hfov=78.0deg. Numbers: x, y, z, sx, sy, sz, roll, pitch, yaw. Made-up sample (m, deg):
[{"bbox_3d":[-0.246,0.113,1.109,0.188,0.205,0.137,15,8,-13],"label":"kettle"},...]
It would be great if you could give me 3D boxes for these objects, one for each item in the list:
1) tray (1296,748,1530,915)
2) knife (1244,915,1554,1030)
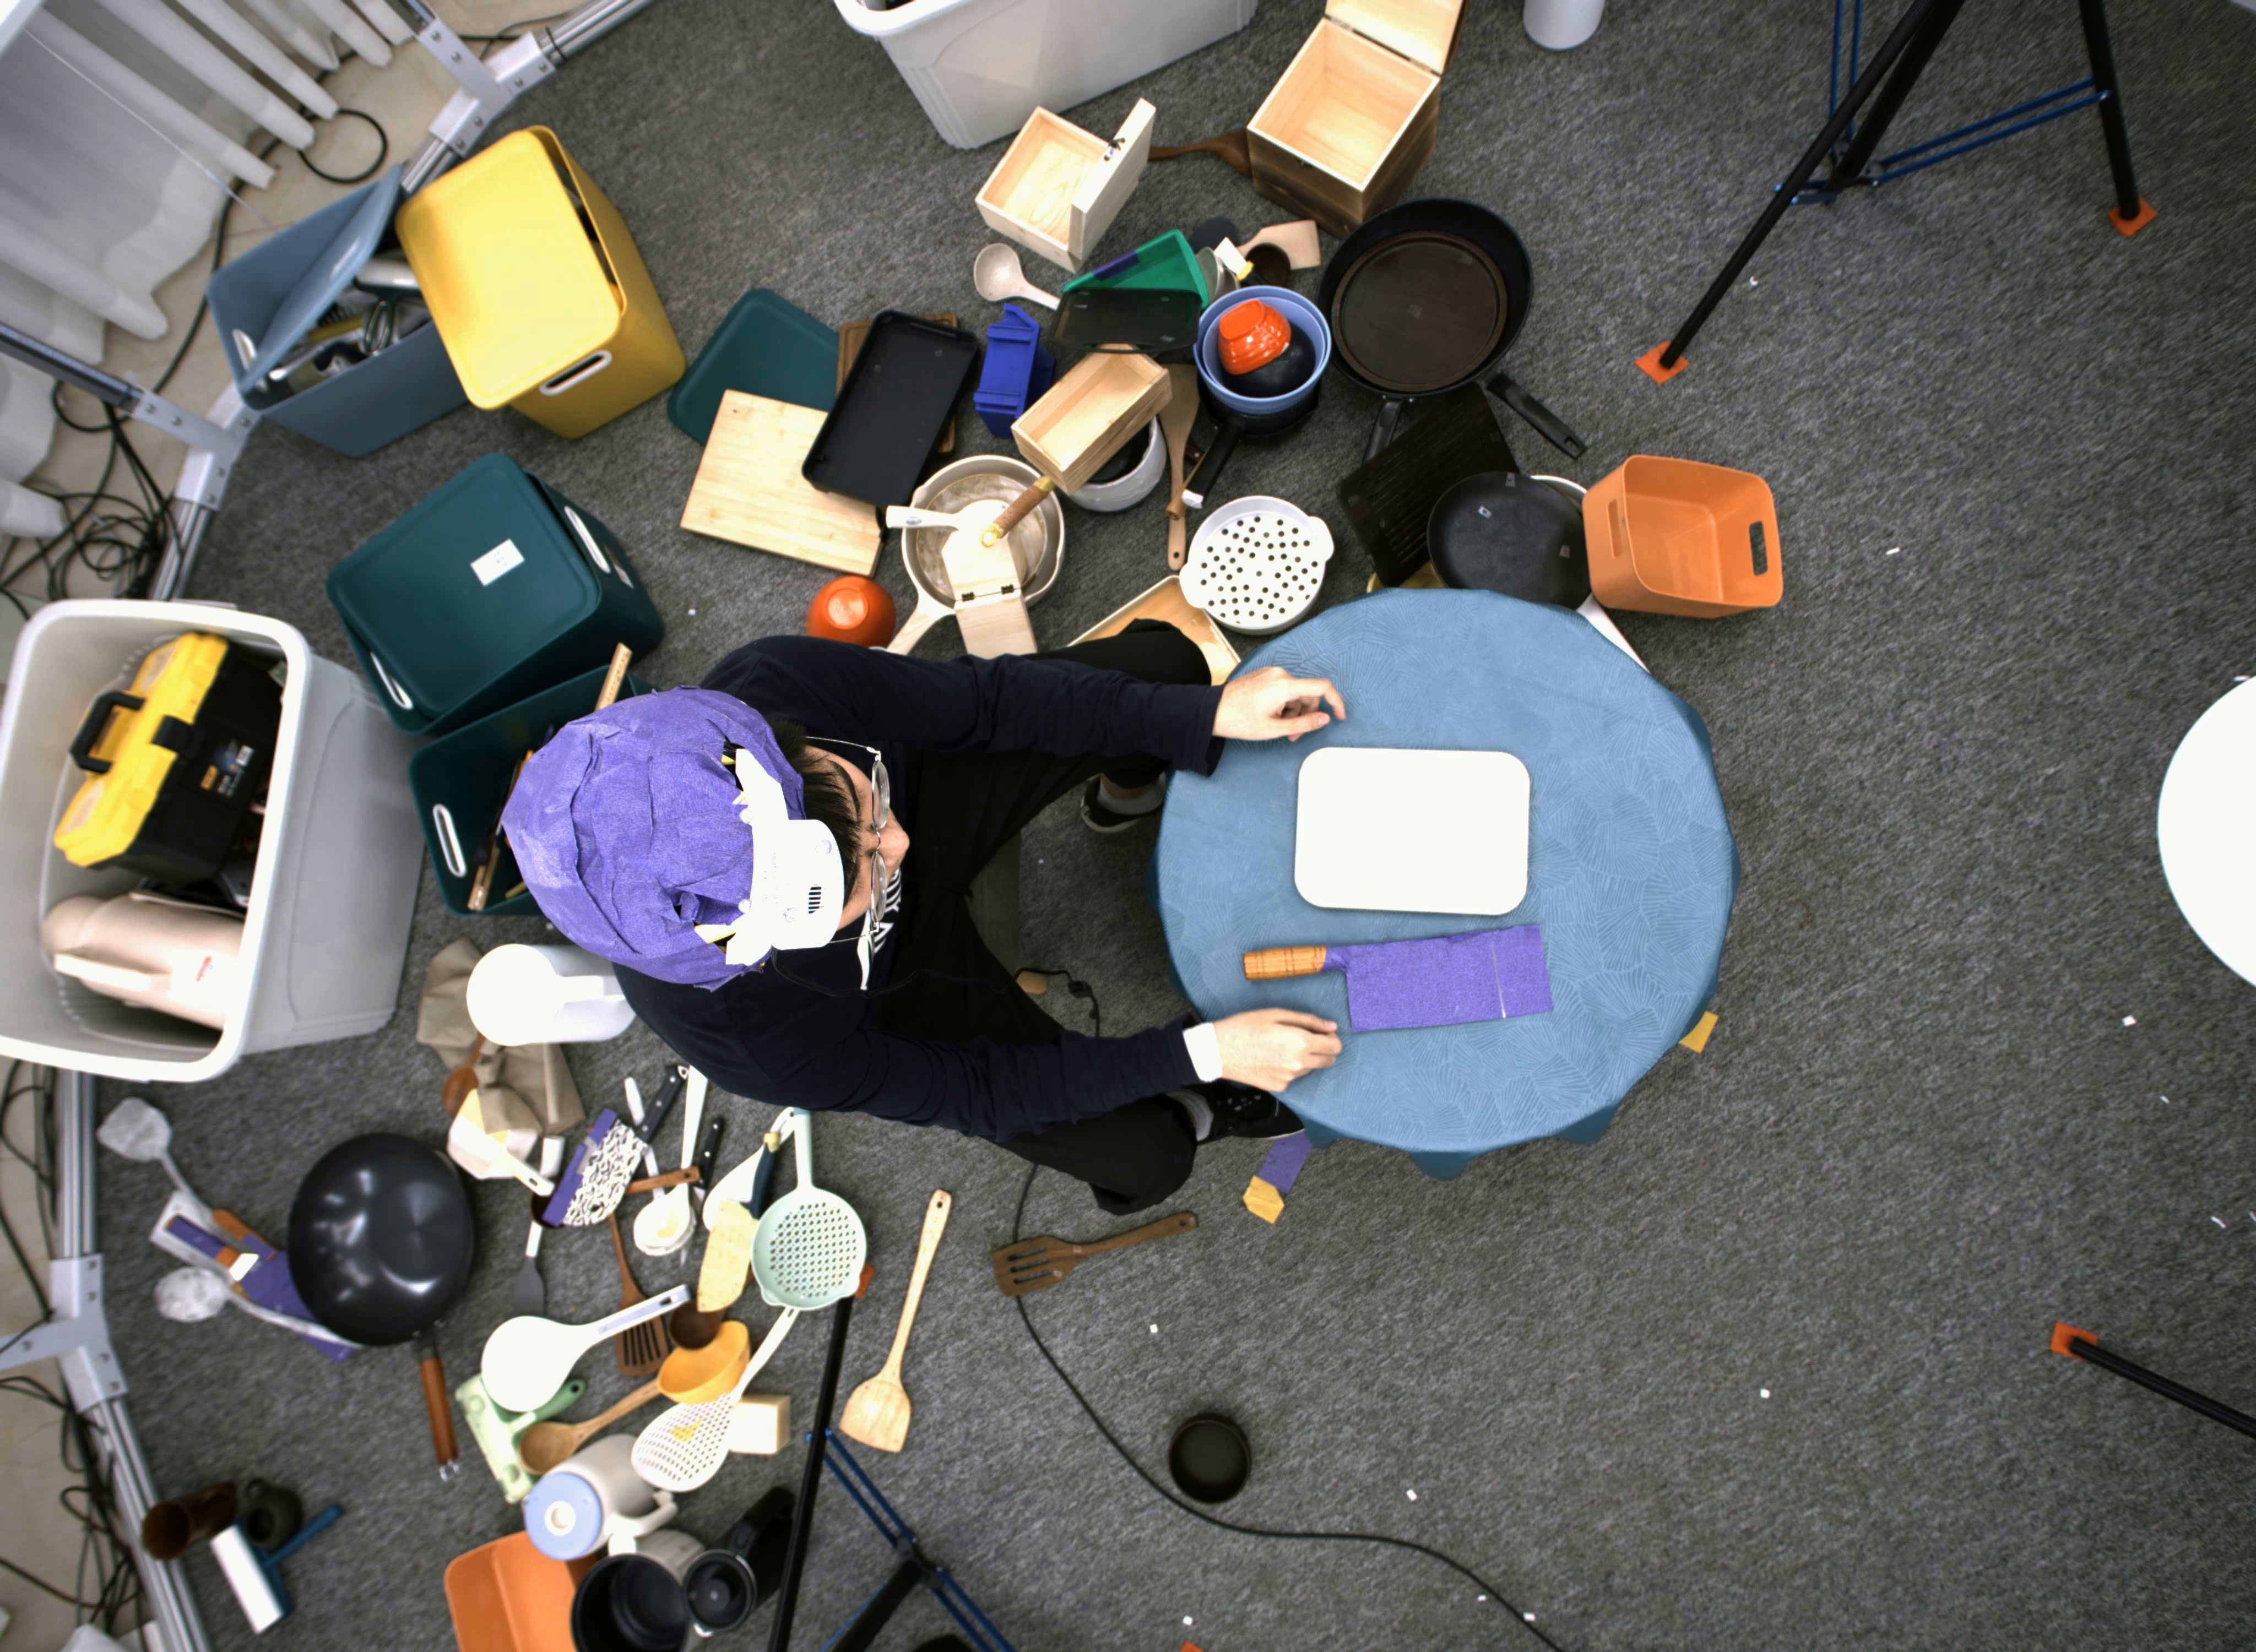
[{"bbox_3d":[0.299,0.004,1.450,0.240,0.017,0.170,2,88,11],"label":"tray"},{"bbox_3d":[0.281,0.161,1.439,0.317,0.032,0.103,-8,85,10],"label":"knife"}]
